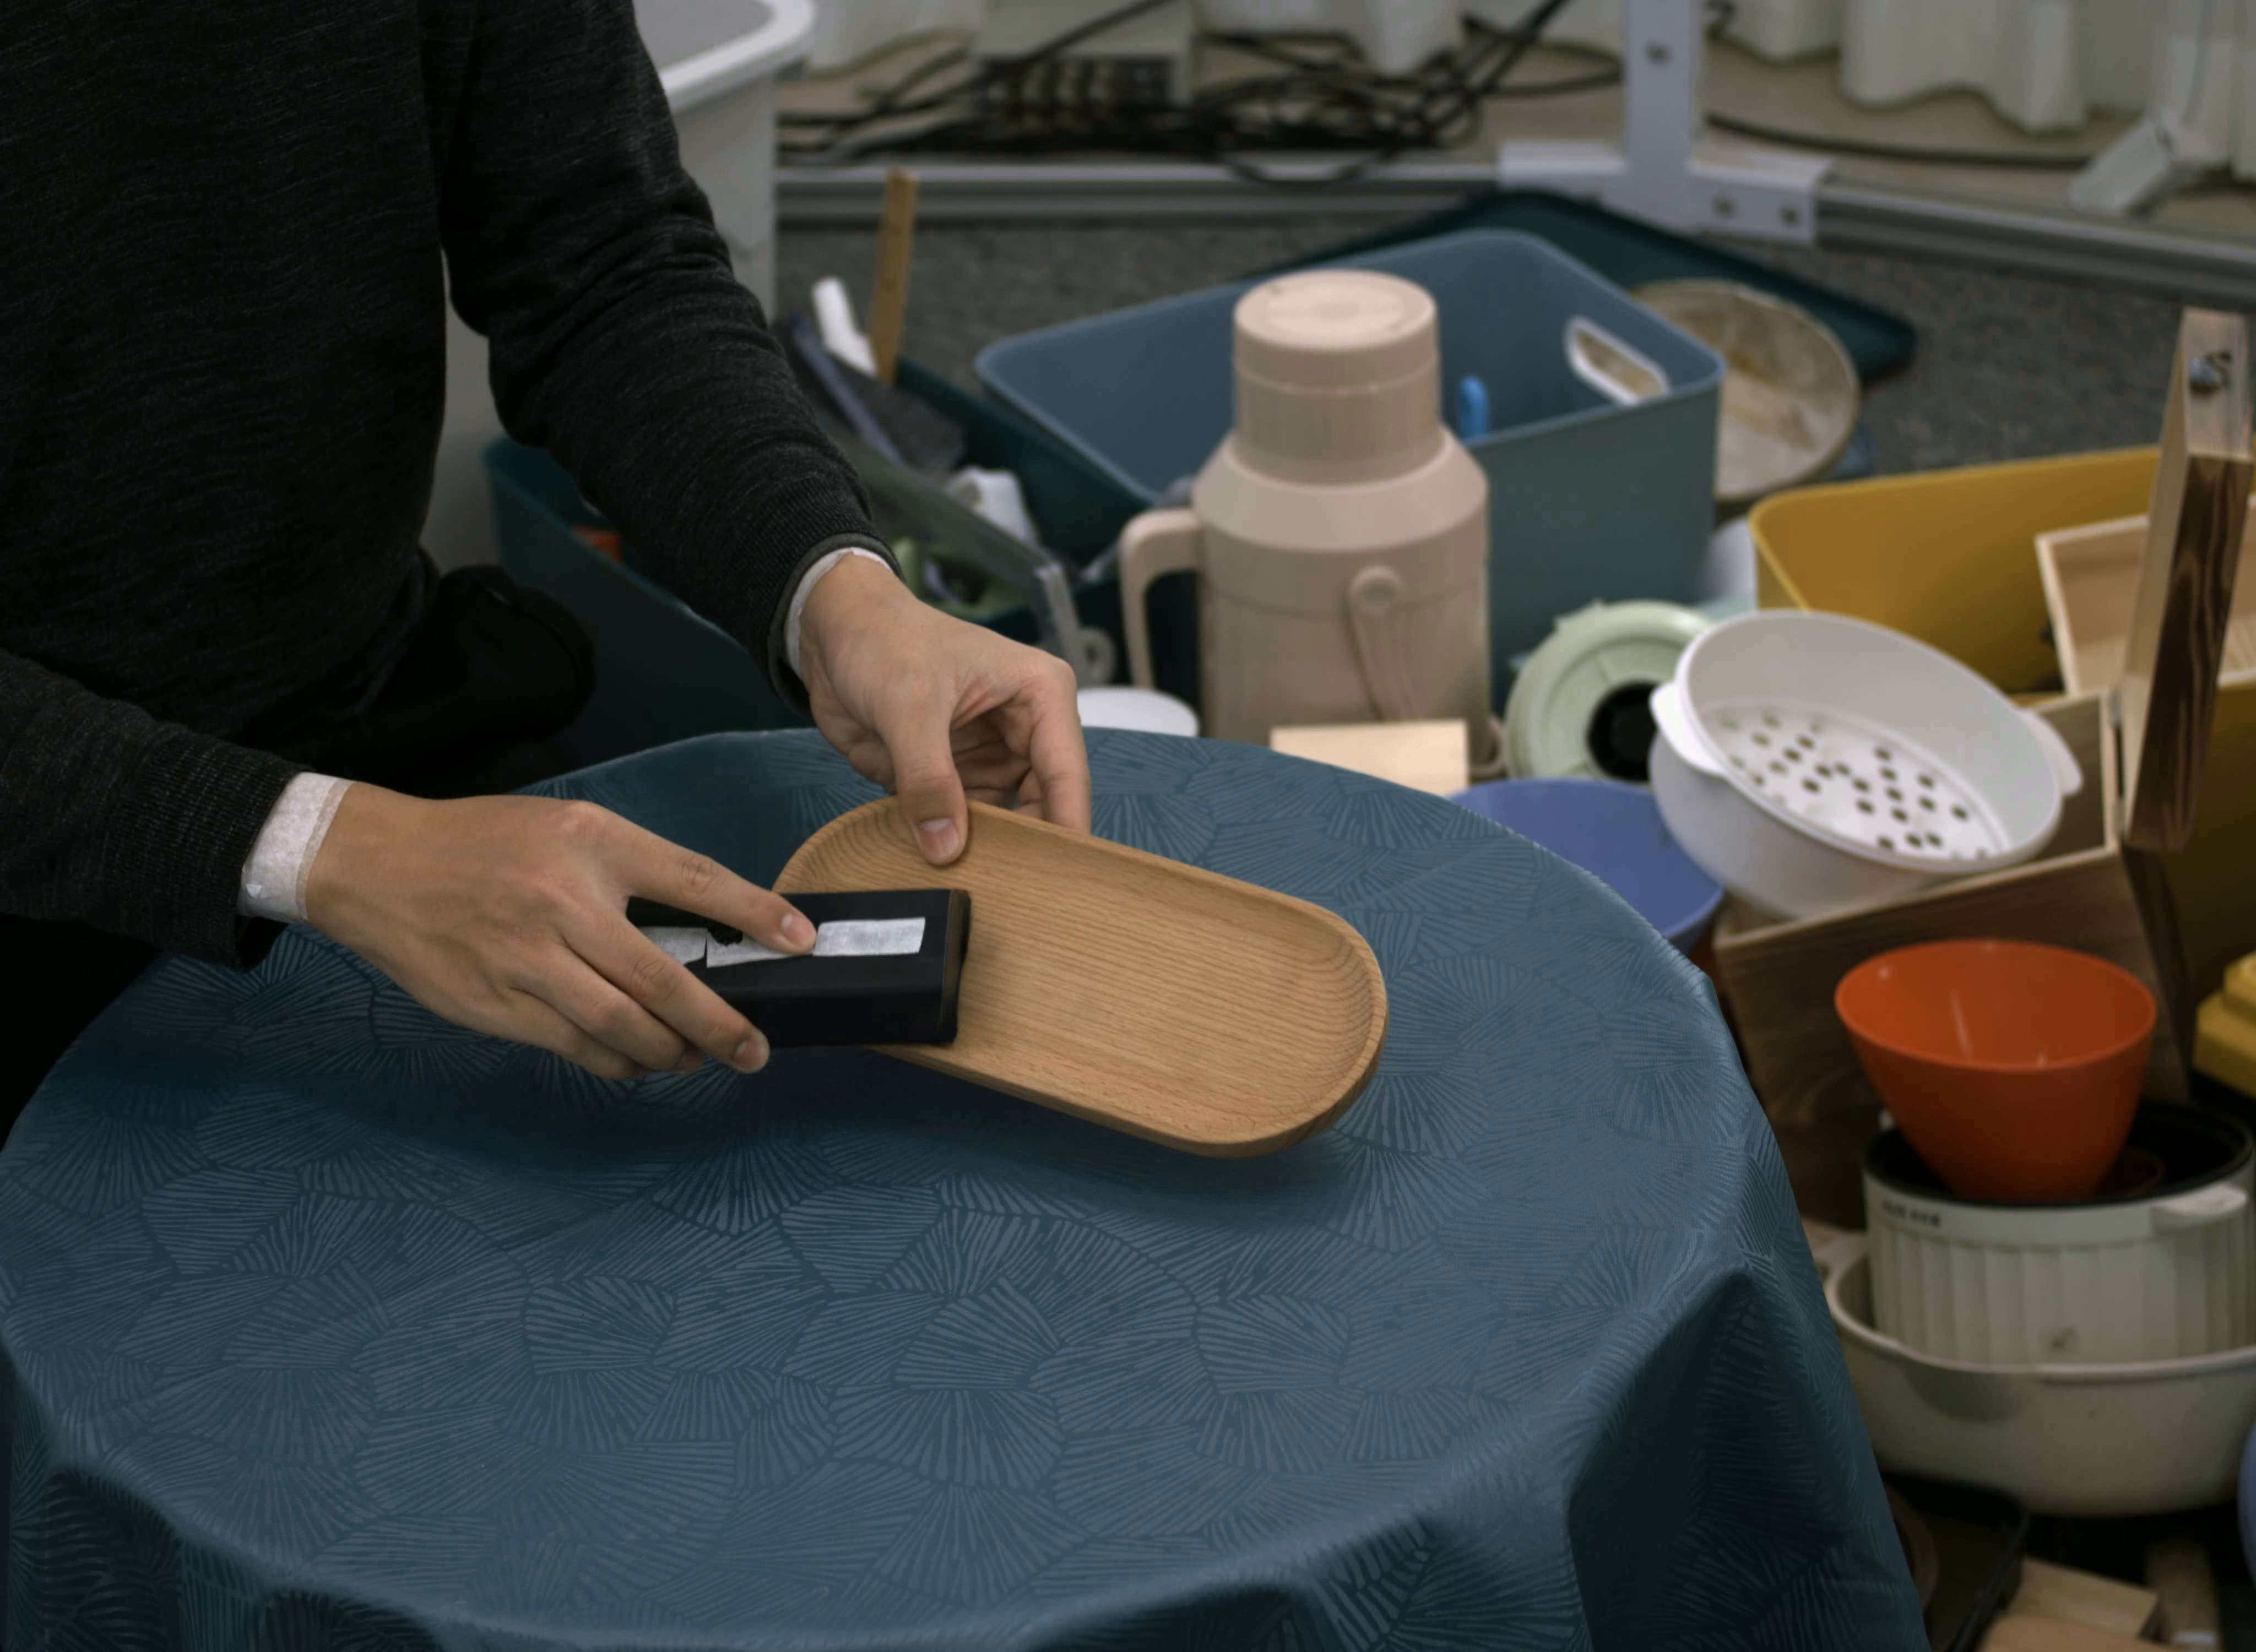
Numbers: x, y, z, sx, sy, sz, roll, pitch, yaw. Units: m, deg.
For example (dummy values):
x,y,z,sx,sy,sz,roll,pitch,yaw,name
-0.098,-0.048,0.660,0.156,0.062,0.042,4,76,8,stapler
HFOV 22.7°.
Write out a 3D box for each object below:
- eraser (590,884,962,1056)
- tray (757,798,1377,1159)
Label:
x,y,z,sx,sy,sz,roll,pitch,yaw,name
-0.117,0.048,1.899,0.125,0.030,0.054,-4,42,3,eraser
-0.023,0.051,1.903,0.230,0.020,0.103,15,56,25,tray
